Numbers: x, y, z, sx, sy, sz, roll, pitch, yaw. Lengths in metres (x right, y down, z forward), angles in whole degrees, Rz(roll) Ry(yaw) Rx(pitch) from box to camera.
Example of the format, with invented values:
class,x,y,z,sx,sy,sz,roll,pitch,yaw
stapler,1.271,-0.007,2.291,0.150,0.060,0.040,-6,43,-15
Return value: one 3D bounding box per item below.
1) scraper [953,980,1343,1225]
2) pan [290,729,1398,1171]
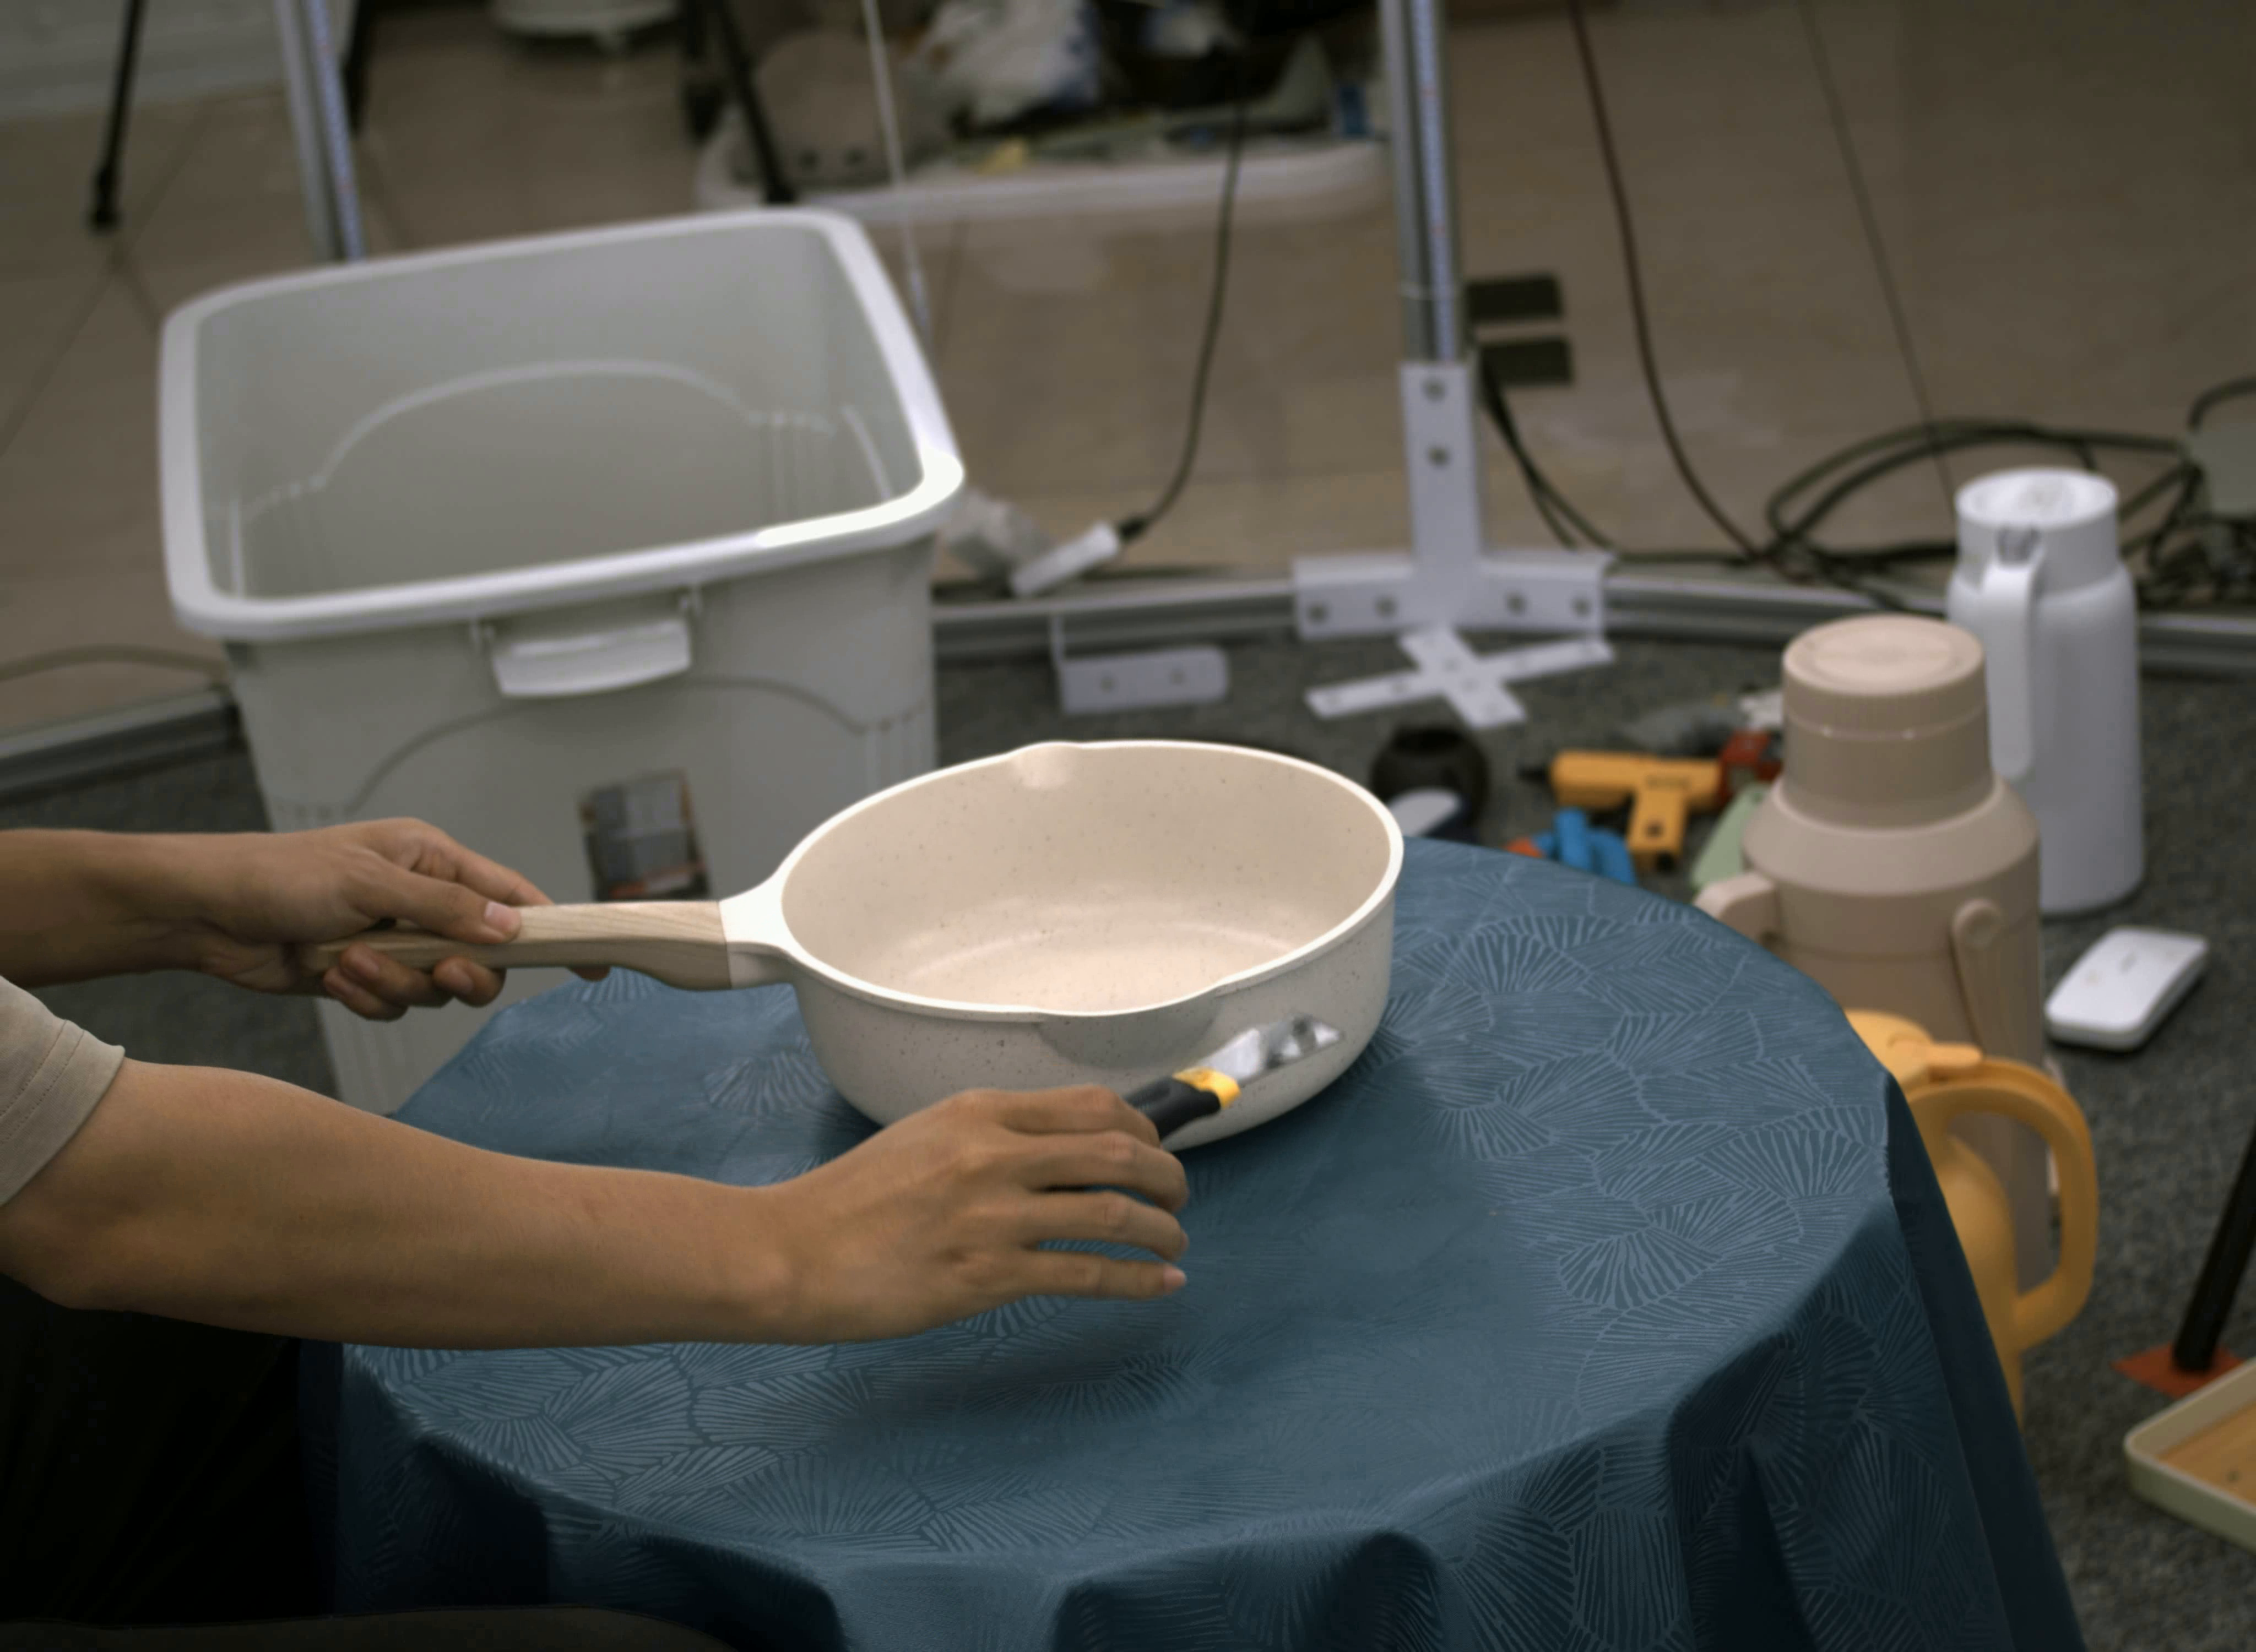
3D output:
class,x,y,z,sx,sy,sz,roll,pitch,yaw
scraper,0.006,0.099,2.031,0.169,0.015,0.038,-29,39,-32
pan,-0.106,0.060,2.234,0.434,0.104,0.259,-9,28,-5
